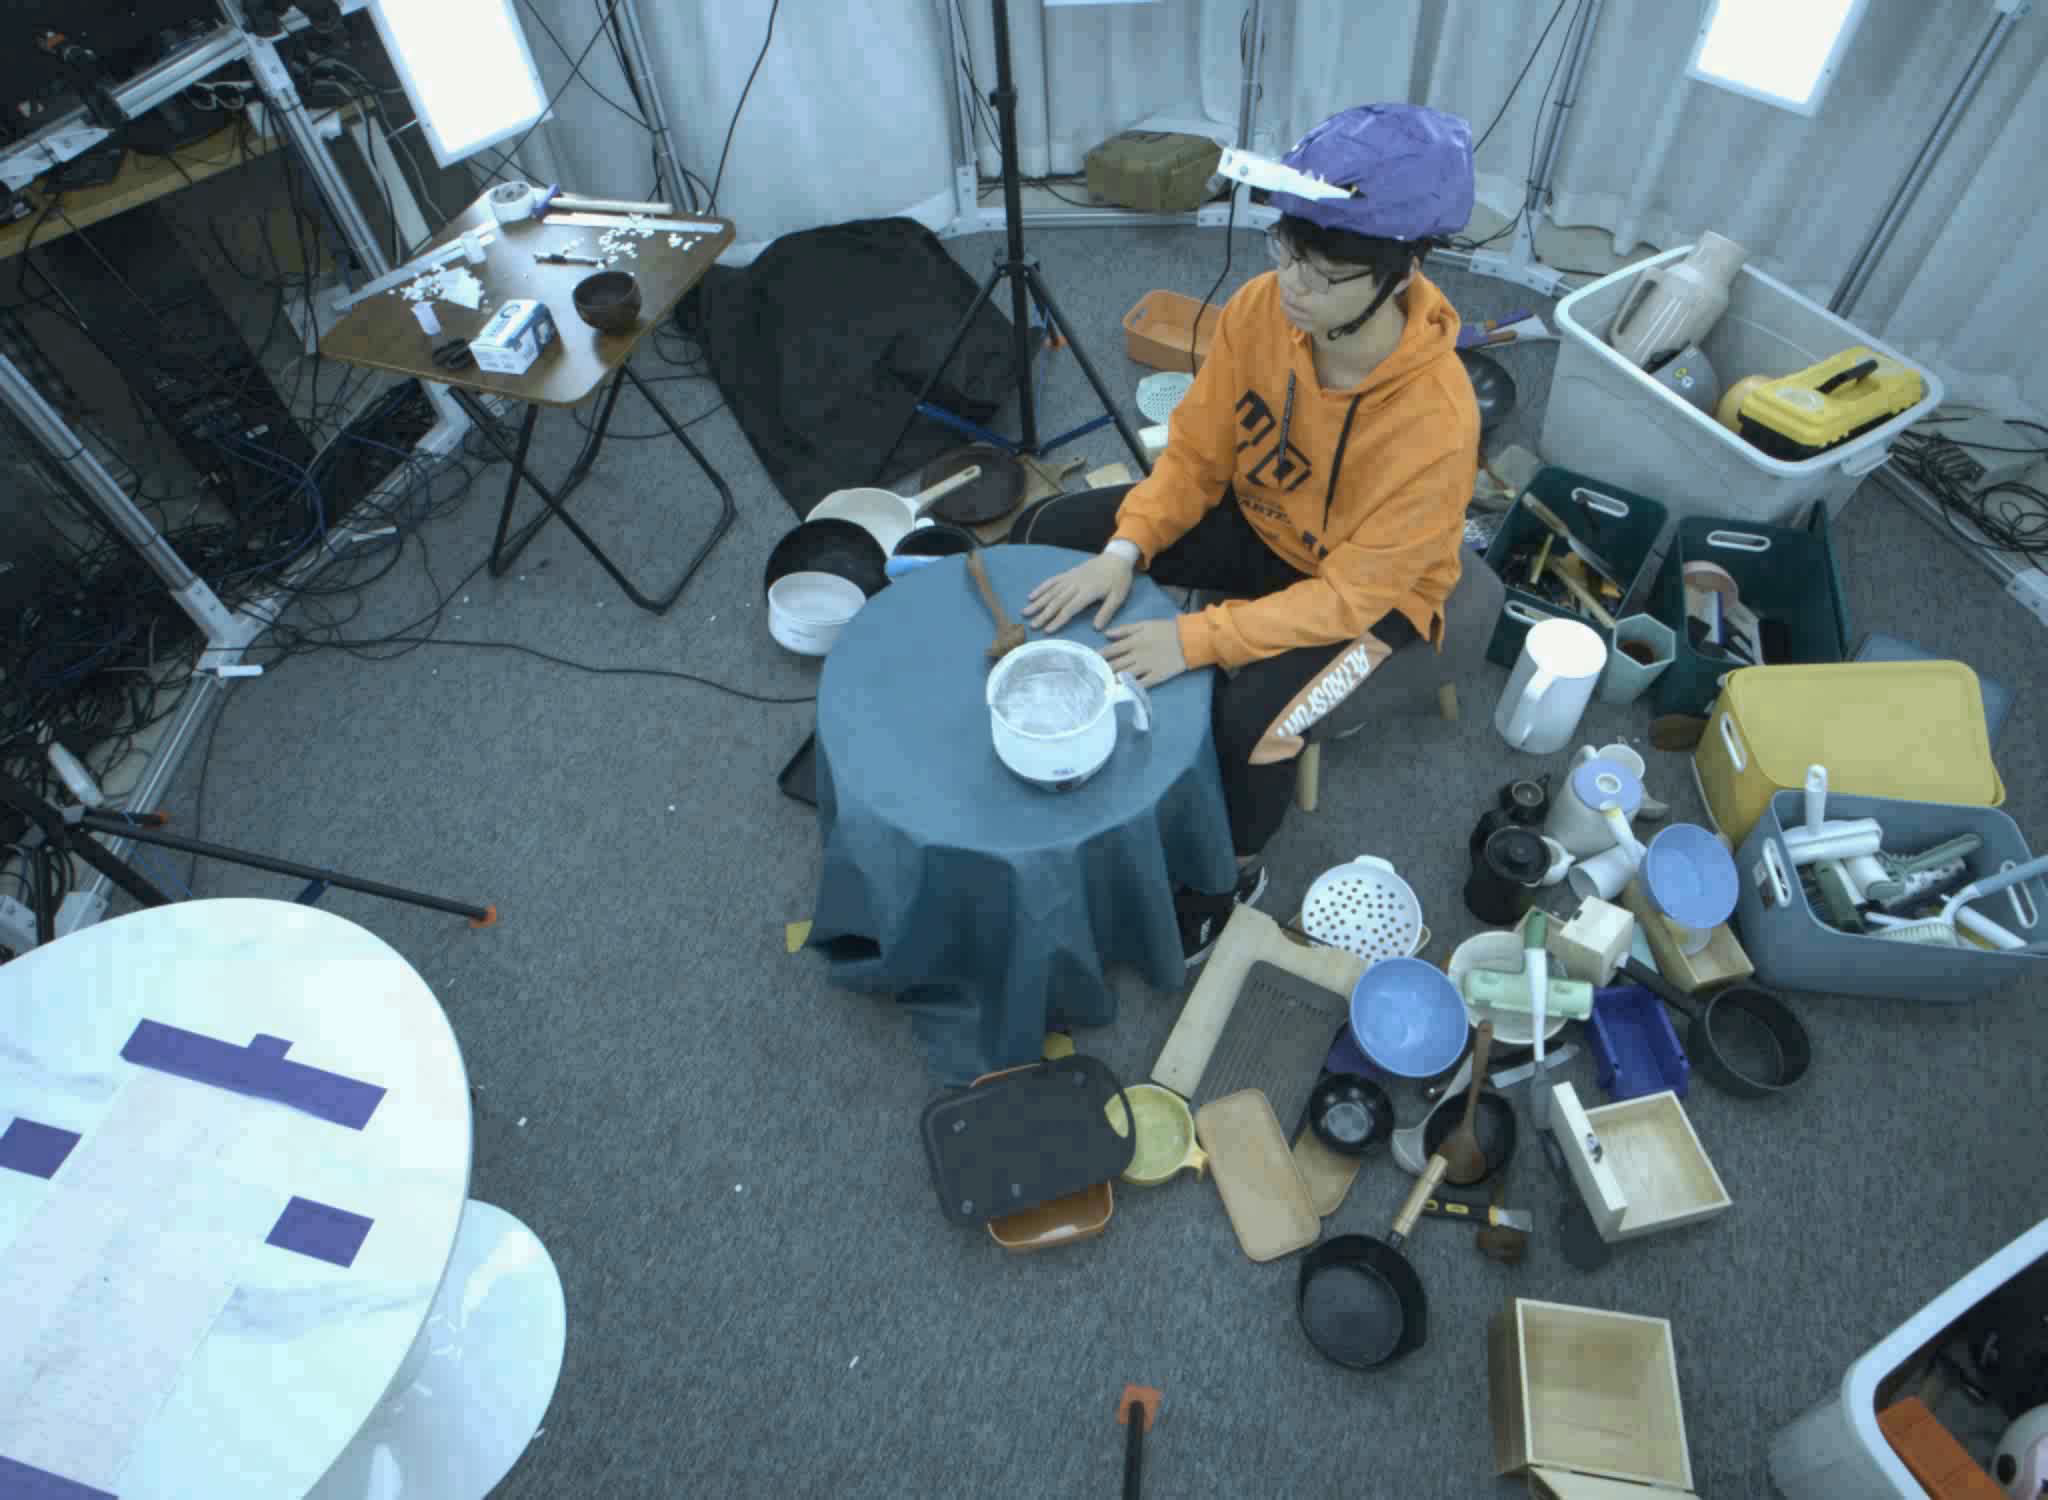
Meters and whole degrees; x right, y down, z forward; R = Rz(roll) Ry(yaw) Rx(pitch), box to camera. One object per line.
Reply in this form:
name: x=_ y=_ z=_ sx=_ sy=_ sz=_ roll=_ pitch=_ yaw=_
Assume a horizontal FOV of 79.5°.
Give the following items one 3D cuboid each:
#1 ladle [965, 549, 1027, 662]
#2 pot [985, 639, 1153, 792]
ladle: x=-0.059 y=-0.237 z=1.920 sx=0.076 sy=0.066 sz=0.256 roll=-32 pitch=56 yaw=13
pot: x=0.067 y=-0.053 z=1.737 sx=0.234 sy=0.138 sz=0.176 roll=-10 pitch=55 yaw=-4
